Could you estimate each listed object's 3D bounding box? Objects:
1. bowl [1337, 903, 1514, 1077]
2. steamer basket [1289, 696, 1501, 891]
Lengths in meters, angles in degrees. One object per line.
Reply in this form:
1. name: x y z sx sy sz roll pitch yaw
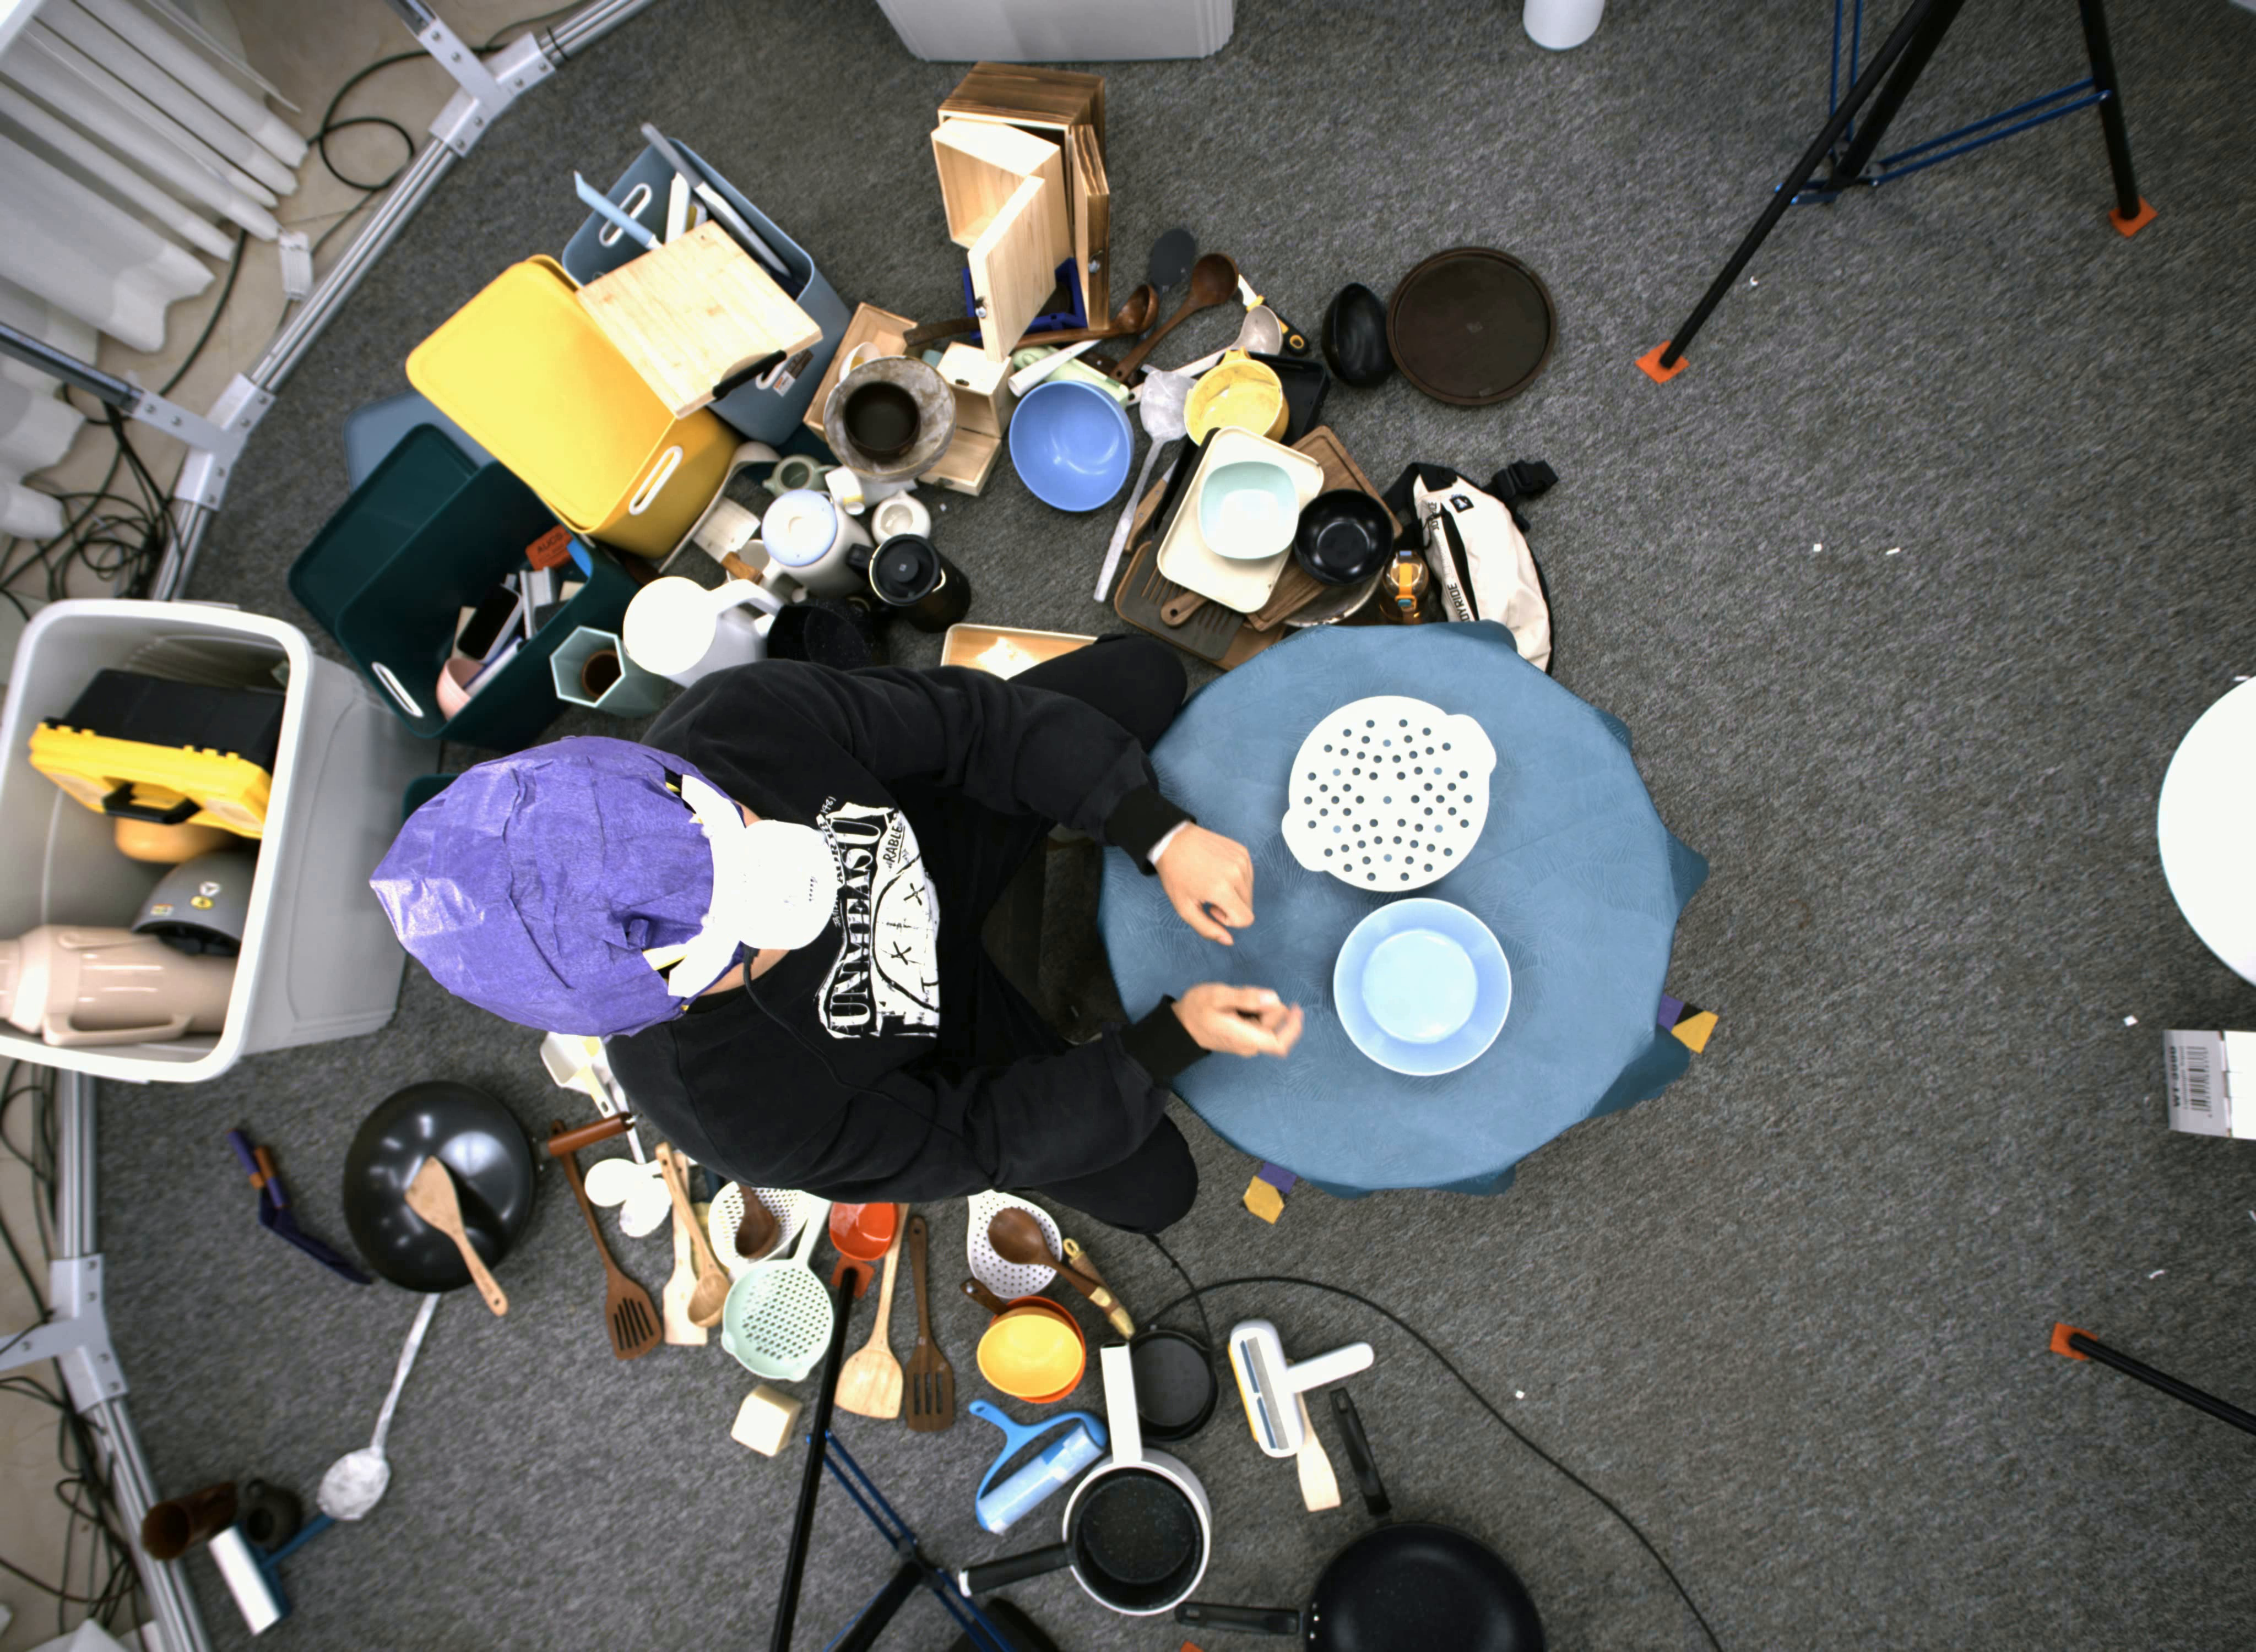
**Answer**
1. bowl: 0.303 0.167 1.416 0.177 0.070 0.175 -1 84 11
2. steamer basket: 0.277 -0.032 1.436 0.231 0.069 0.200 -31 81 4
